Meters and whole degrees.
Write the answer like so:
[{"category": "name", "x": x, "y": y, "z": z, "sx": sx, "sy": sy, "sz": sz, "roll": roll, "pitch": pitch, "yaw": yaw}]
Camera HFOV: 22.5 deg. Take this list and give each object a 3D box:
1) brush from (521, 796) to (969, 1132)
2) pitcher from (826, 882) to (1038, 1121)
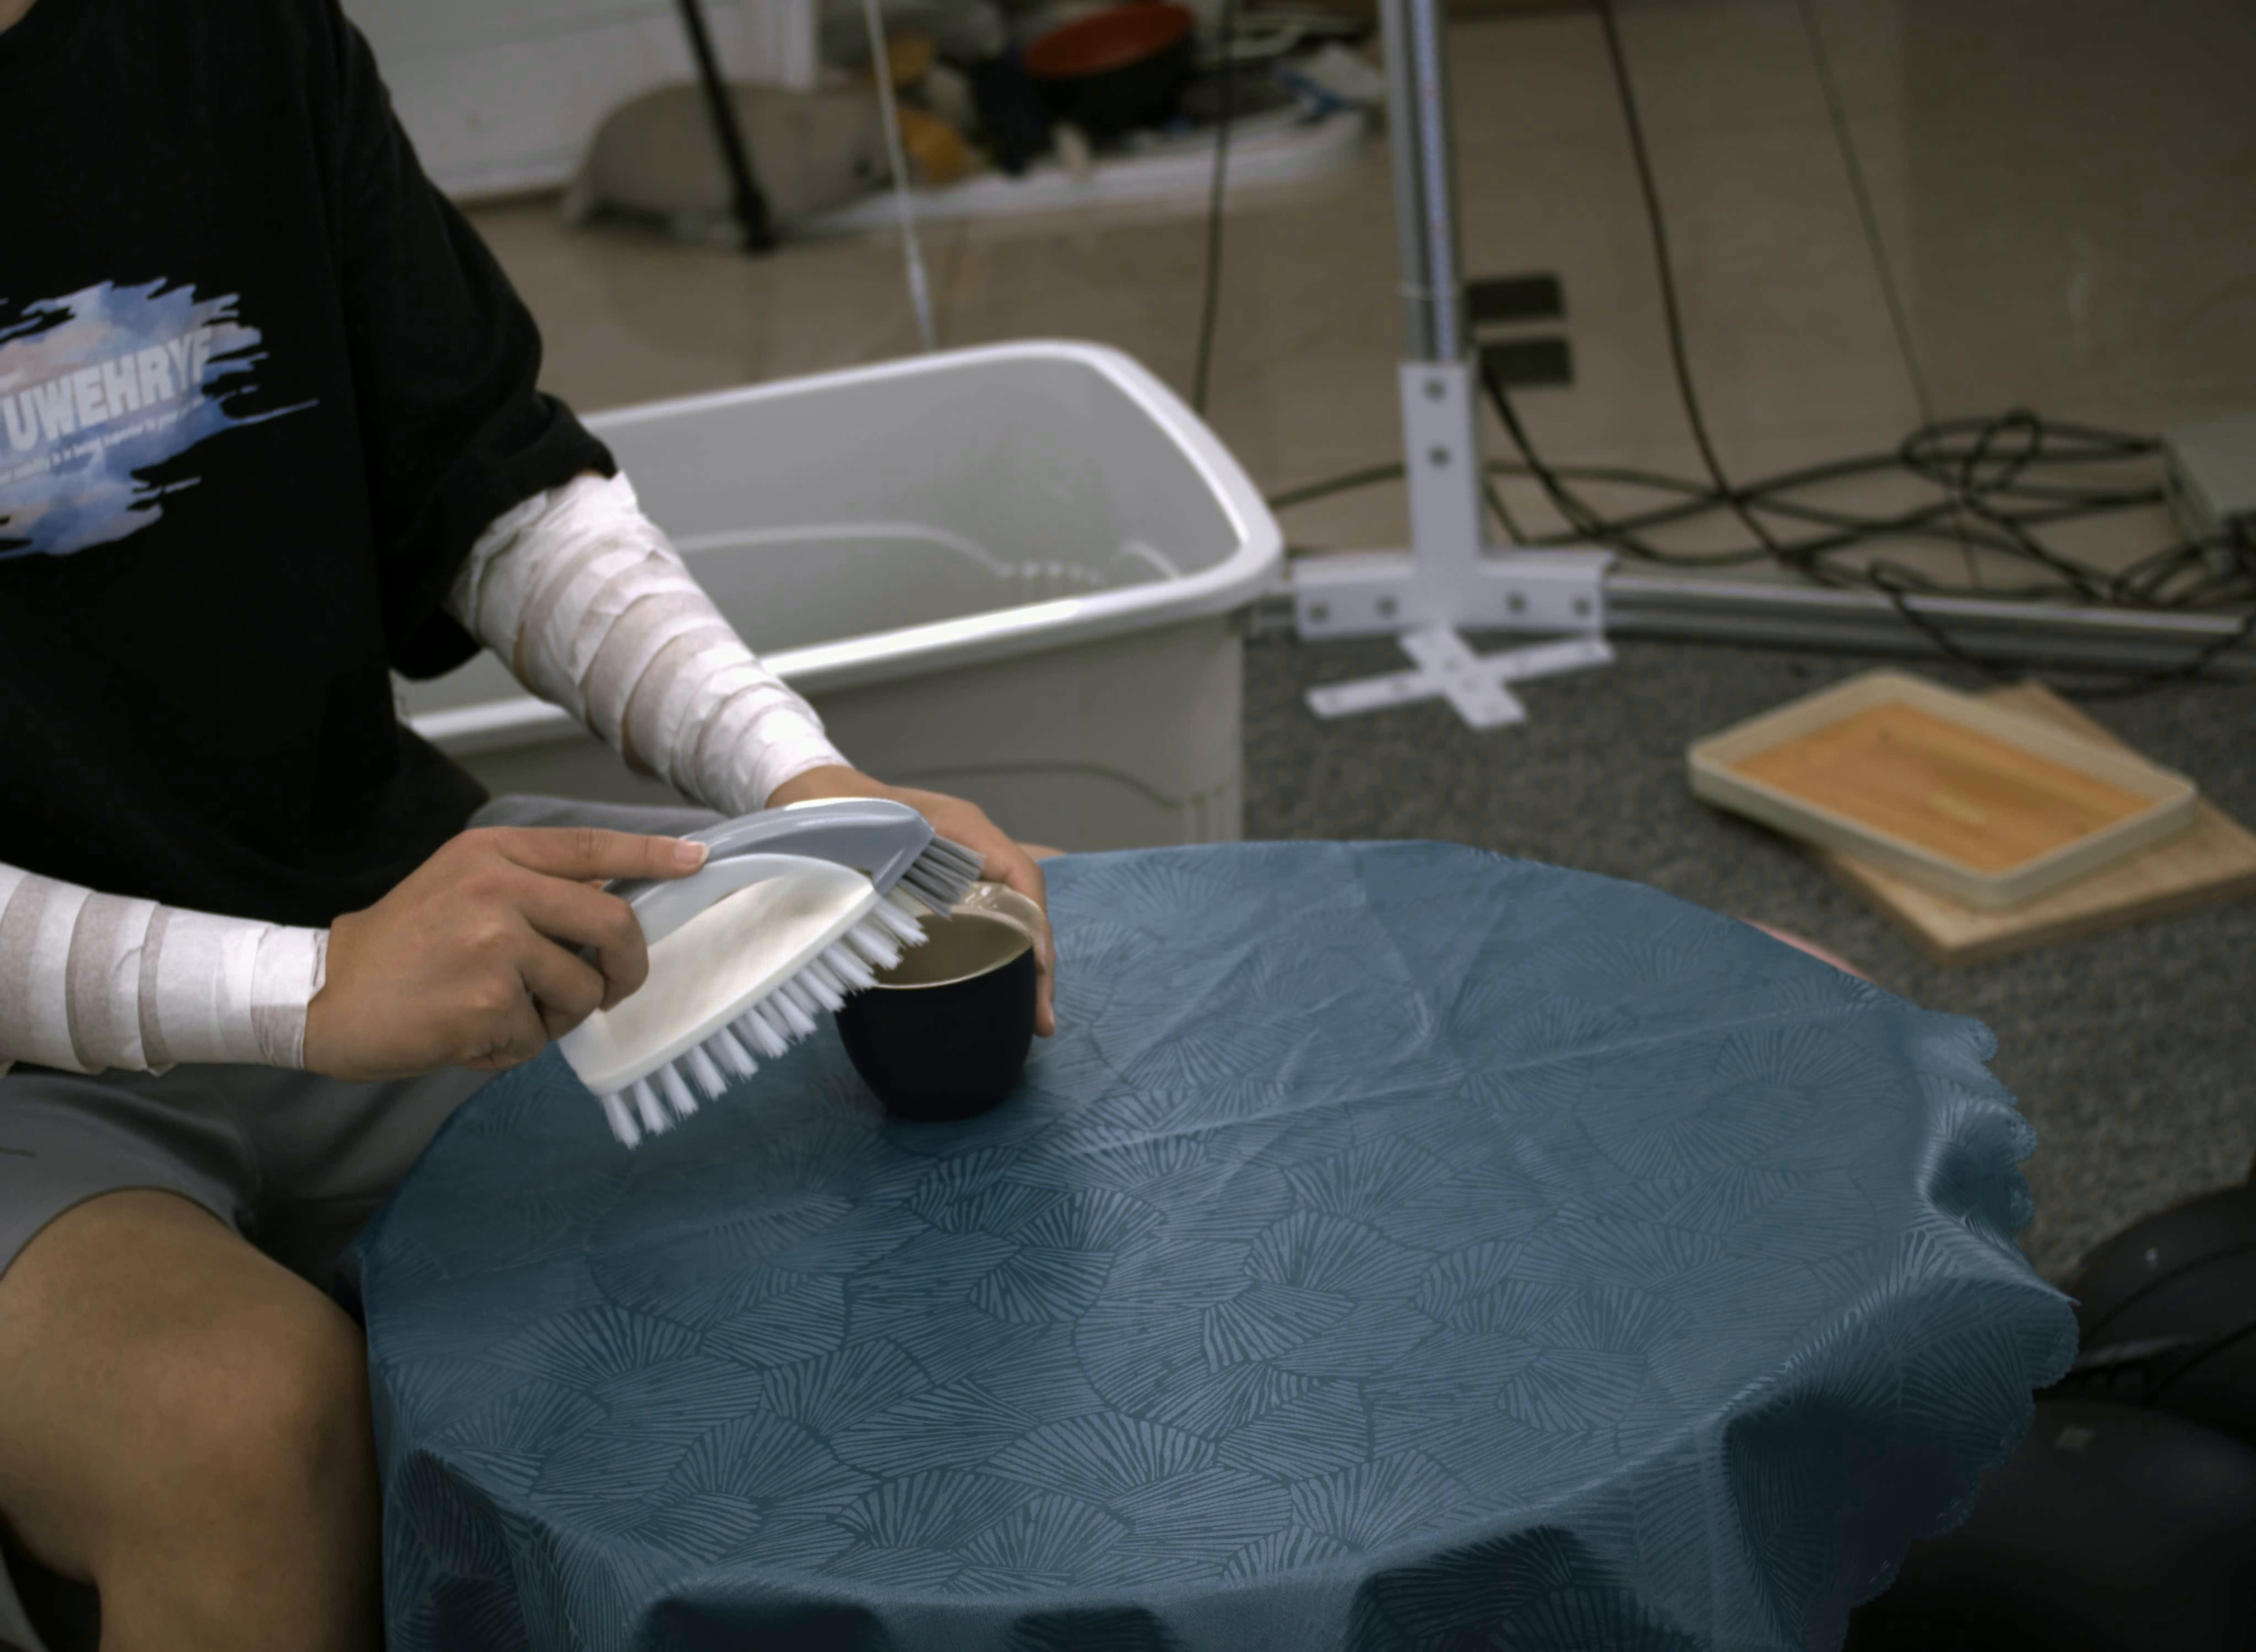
[{"category": "brush", "x": -0.151, "y": 0.035, "z": 2.164, "sx": 0.175, "sy": 0.096, "sz": 0.060, "roll": -31, "pitch": 43, "yaw": 3}, {"category": "pitcher", "x": -0.073, "y": 0.072, "z": 2.224, "sx": 0.083, "sy": 0.072, "sz": 0.095, "roll": 4, "pitch": 24, "yaw": 25}]
